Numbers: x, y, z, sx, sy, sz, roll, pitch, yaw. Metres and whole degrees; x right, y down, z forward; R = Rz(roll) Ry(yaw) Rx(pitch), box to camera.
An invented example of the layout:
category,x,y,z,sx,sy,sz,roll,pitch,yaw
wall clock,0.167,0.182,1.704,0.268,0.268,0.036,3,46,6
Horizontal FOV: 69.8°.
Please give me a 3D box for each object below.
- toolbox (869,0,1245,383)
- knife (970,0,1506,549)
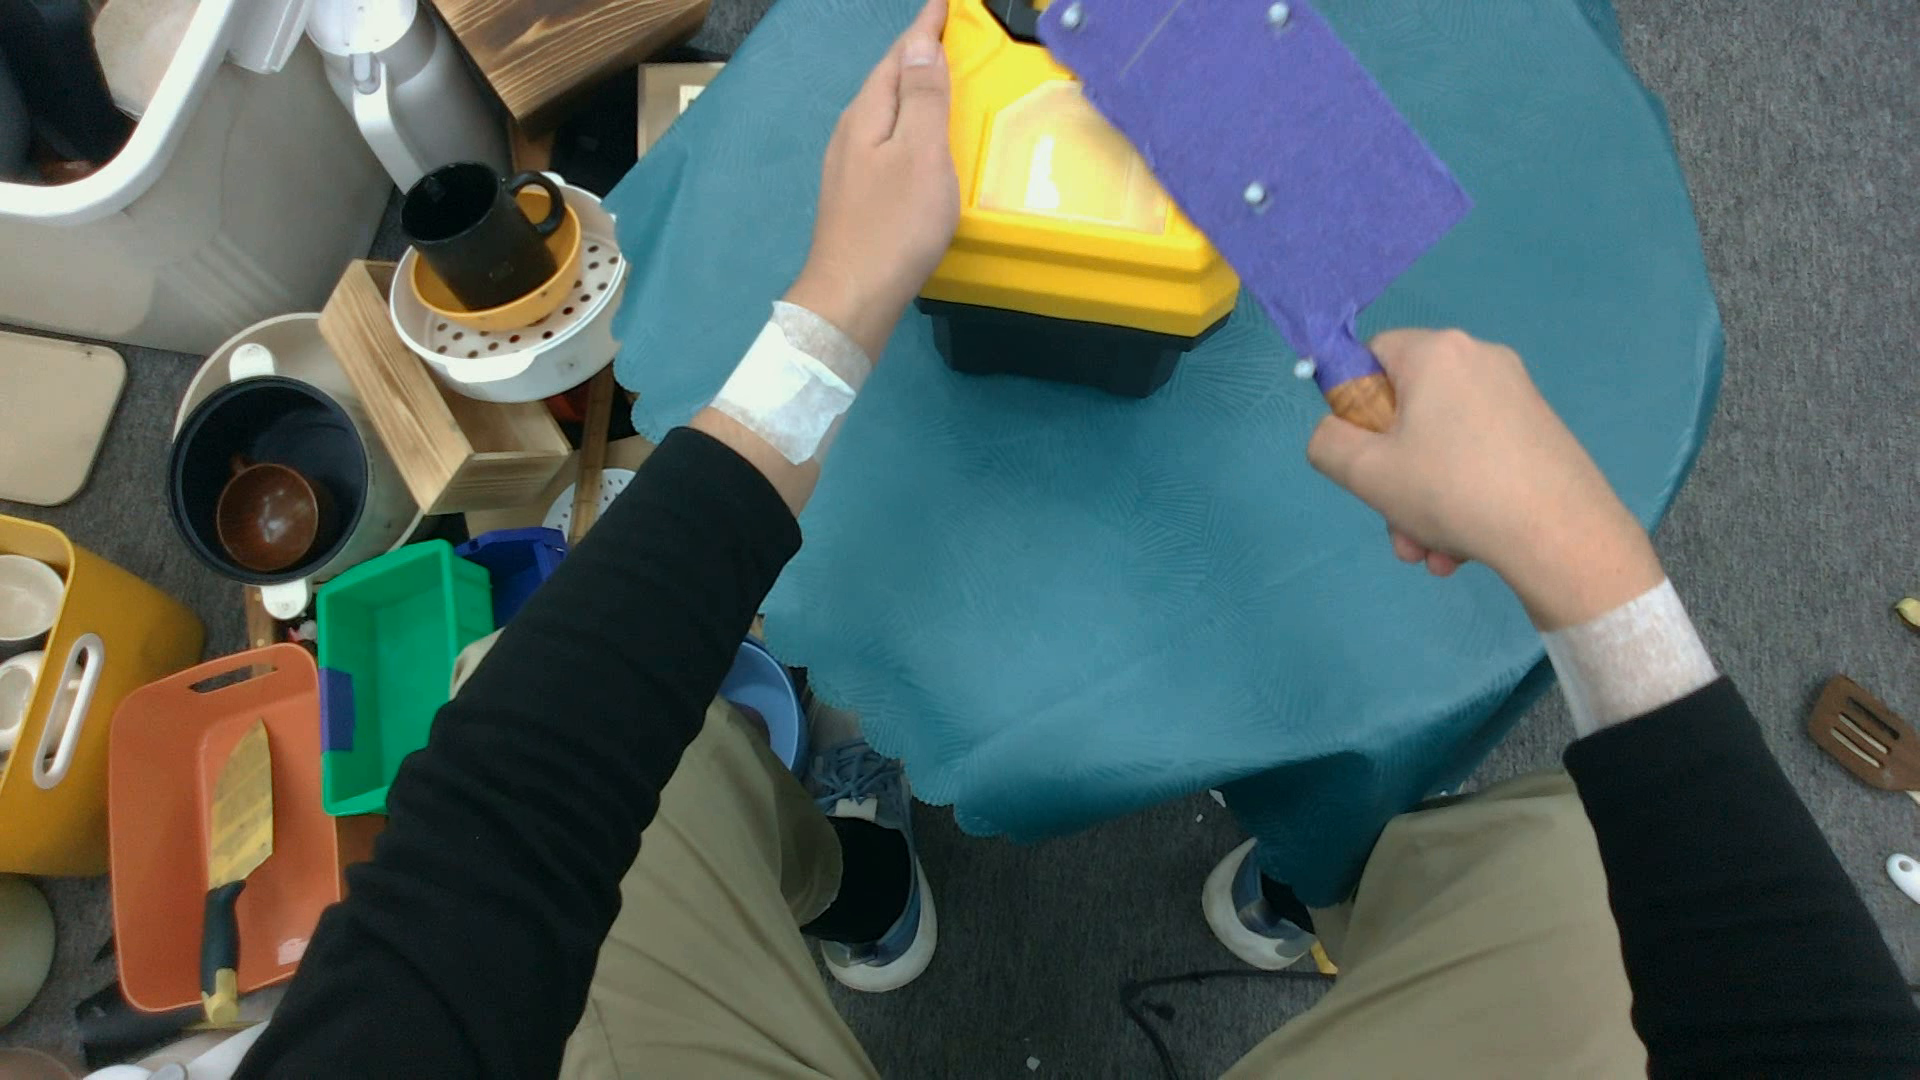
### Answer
category,x,y,z,sx,sy,sz,roll,pitch,yaw
toolbox,0.064,-0.267,0.738,0.181,0.172,0.352,9,73,3
knife,0.129,-0.140,0.575,0.315,0.032,0.103,50,118,14
